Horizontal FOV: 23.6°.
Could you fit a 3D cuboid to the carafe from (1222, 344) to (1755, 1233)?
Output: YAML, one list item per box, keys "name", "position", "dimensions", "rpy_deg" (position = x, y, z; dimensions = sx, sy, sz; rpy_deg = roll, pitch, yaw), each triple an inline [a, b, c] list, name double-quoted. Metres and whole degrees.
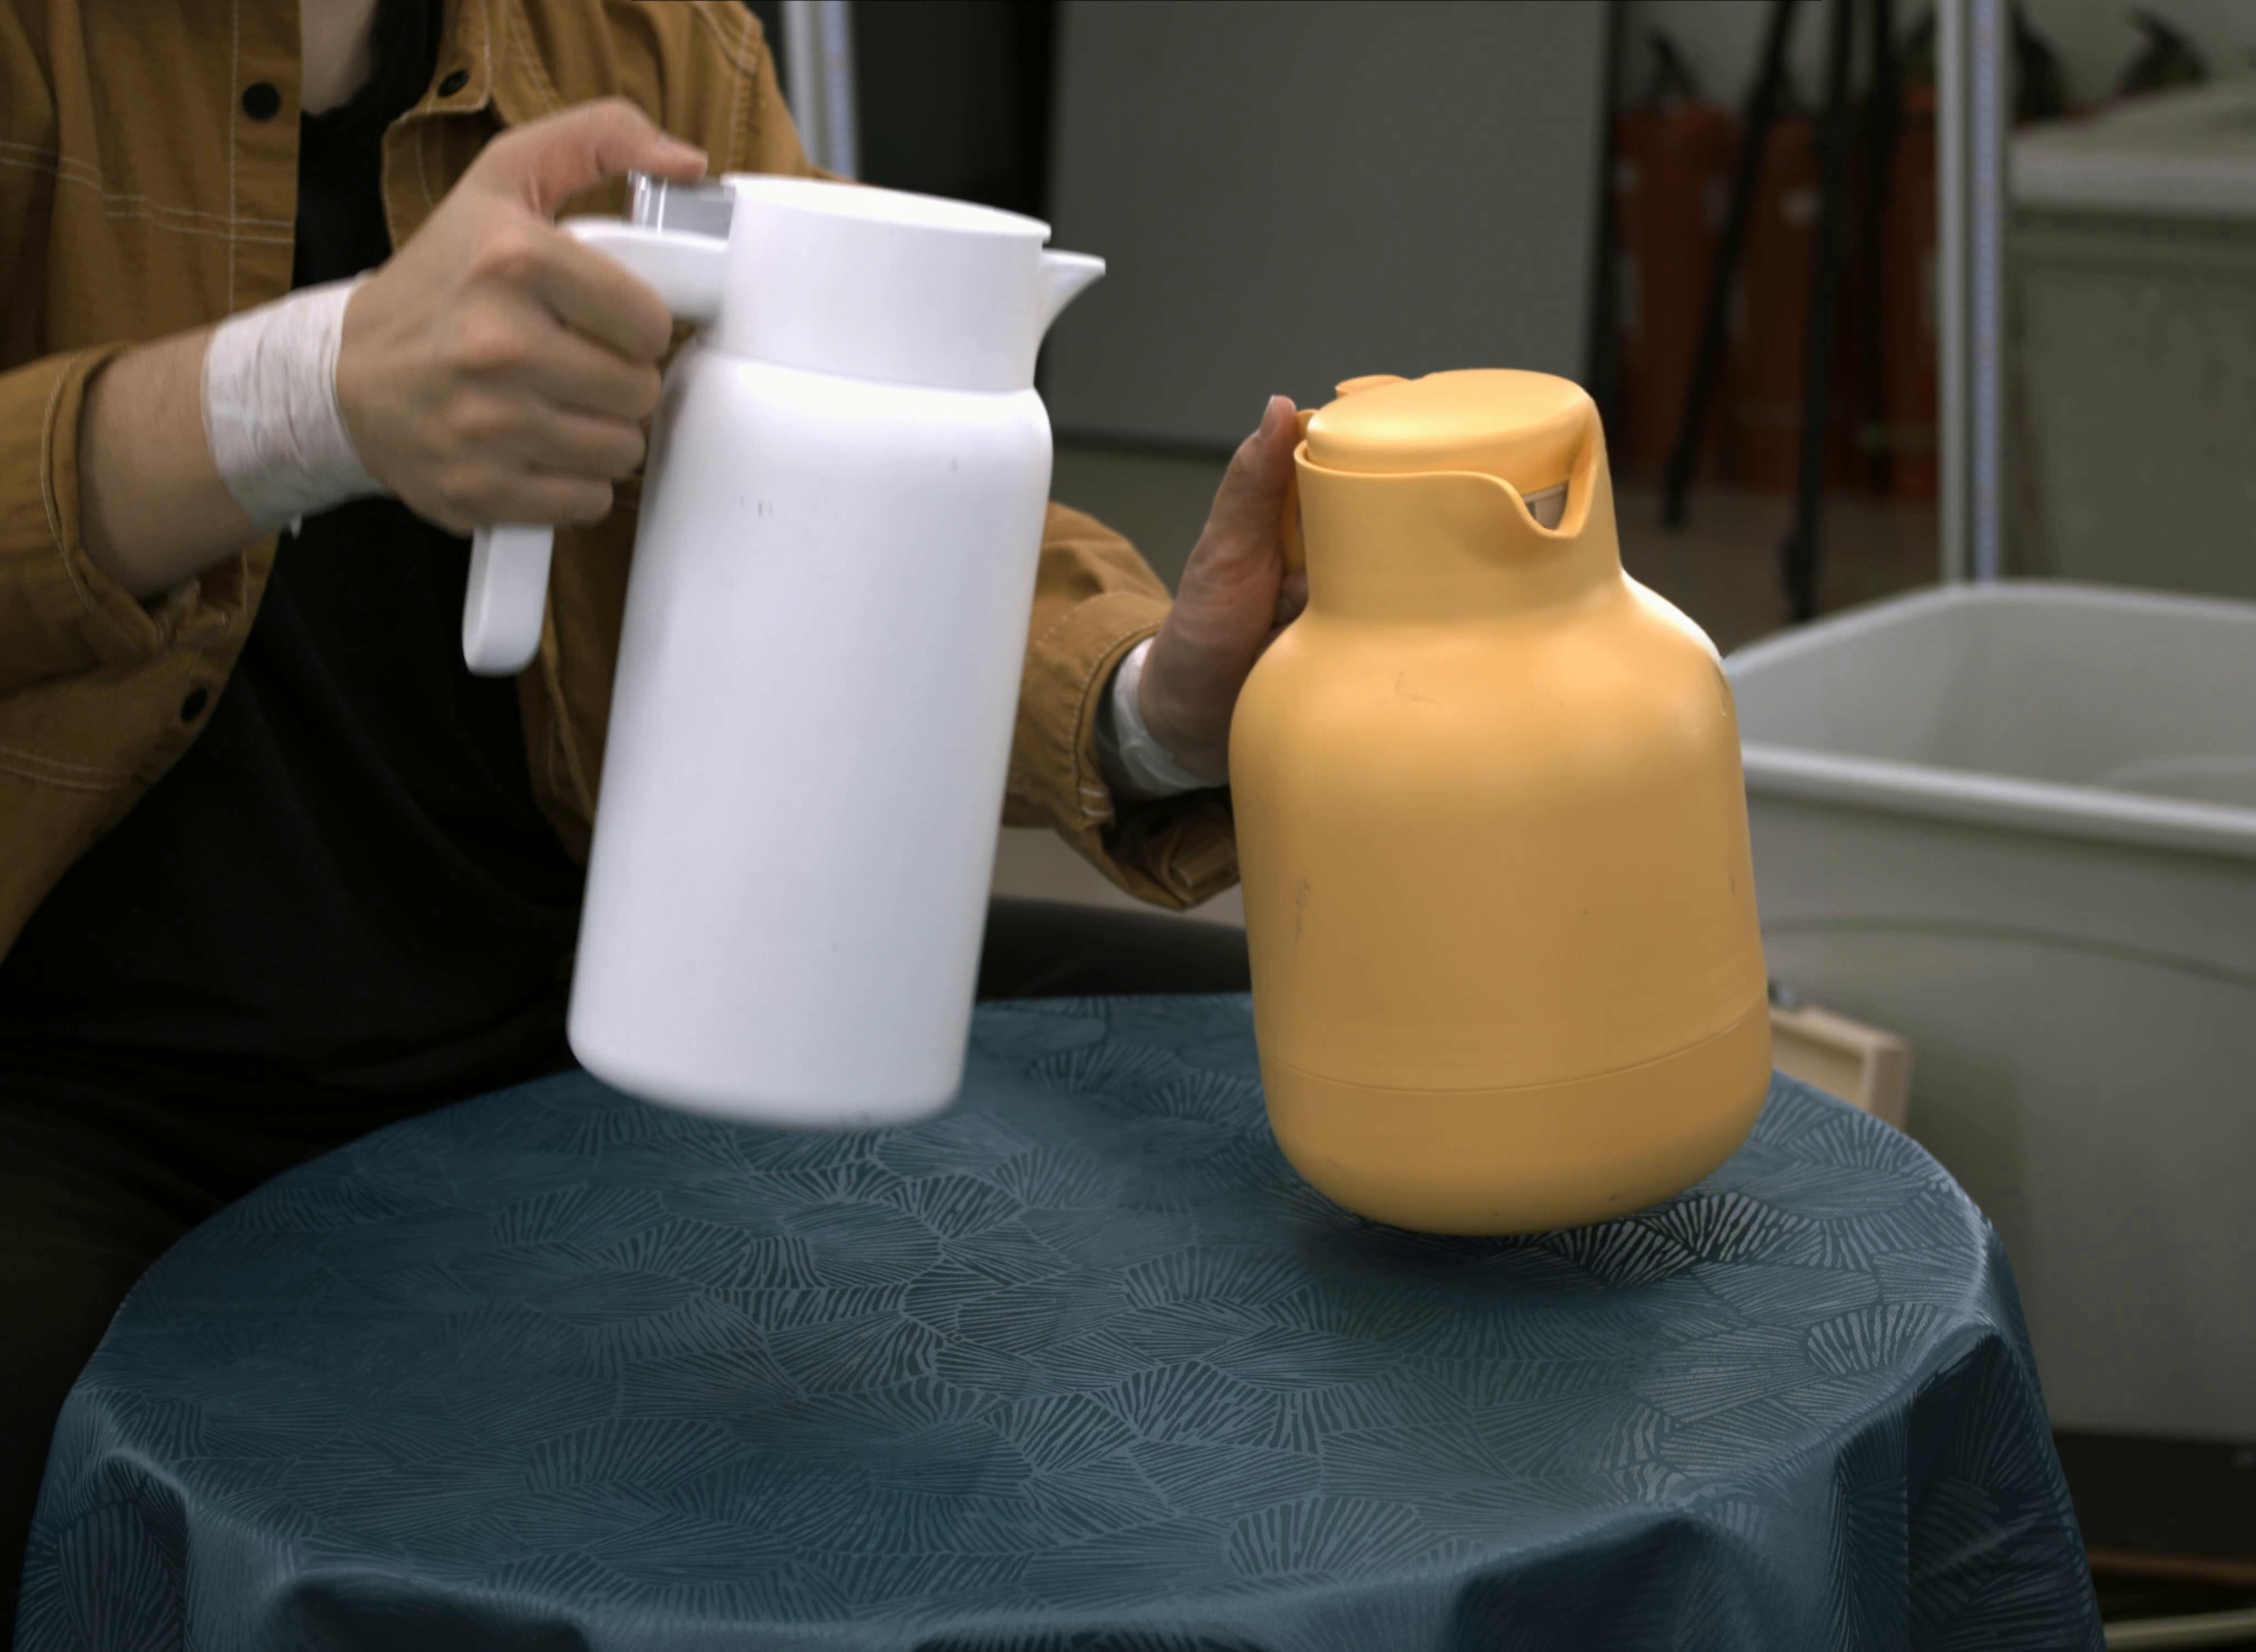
- name: "carafe"
  position: [0.104, -0.020, 1.694]
  dimensions: [0.160, 0.263, 0.204]
  rpy_deg: [-10, 17, -17]

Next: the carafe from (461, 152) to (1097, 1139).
- name: "carafe"
  position: [-0.105, -0.053, 1.557]
  dimensions: [0.169, 0.272, 0.125]
  rpy_deg: [4, 13, -16]
